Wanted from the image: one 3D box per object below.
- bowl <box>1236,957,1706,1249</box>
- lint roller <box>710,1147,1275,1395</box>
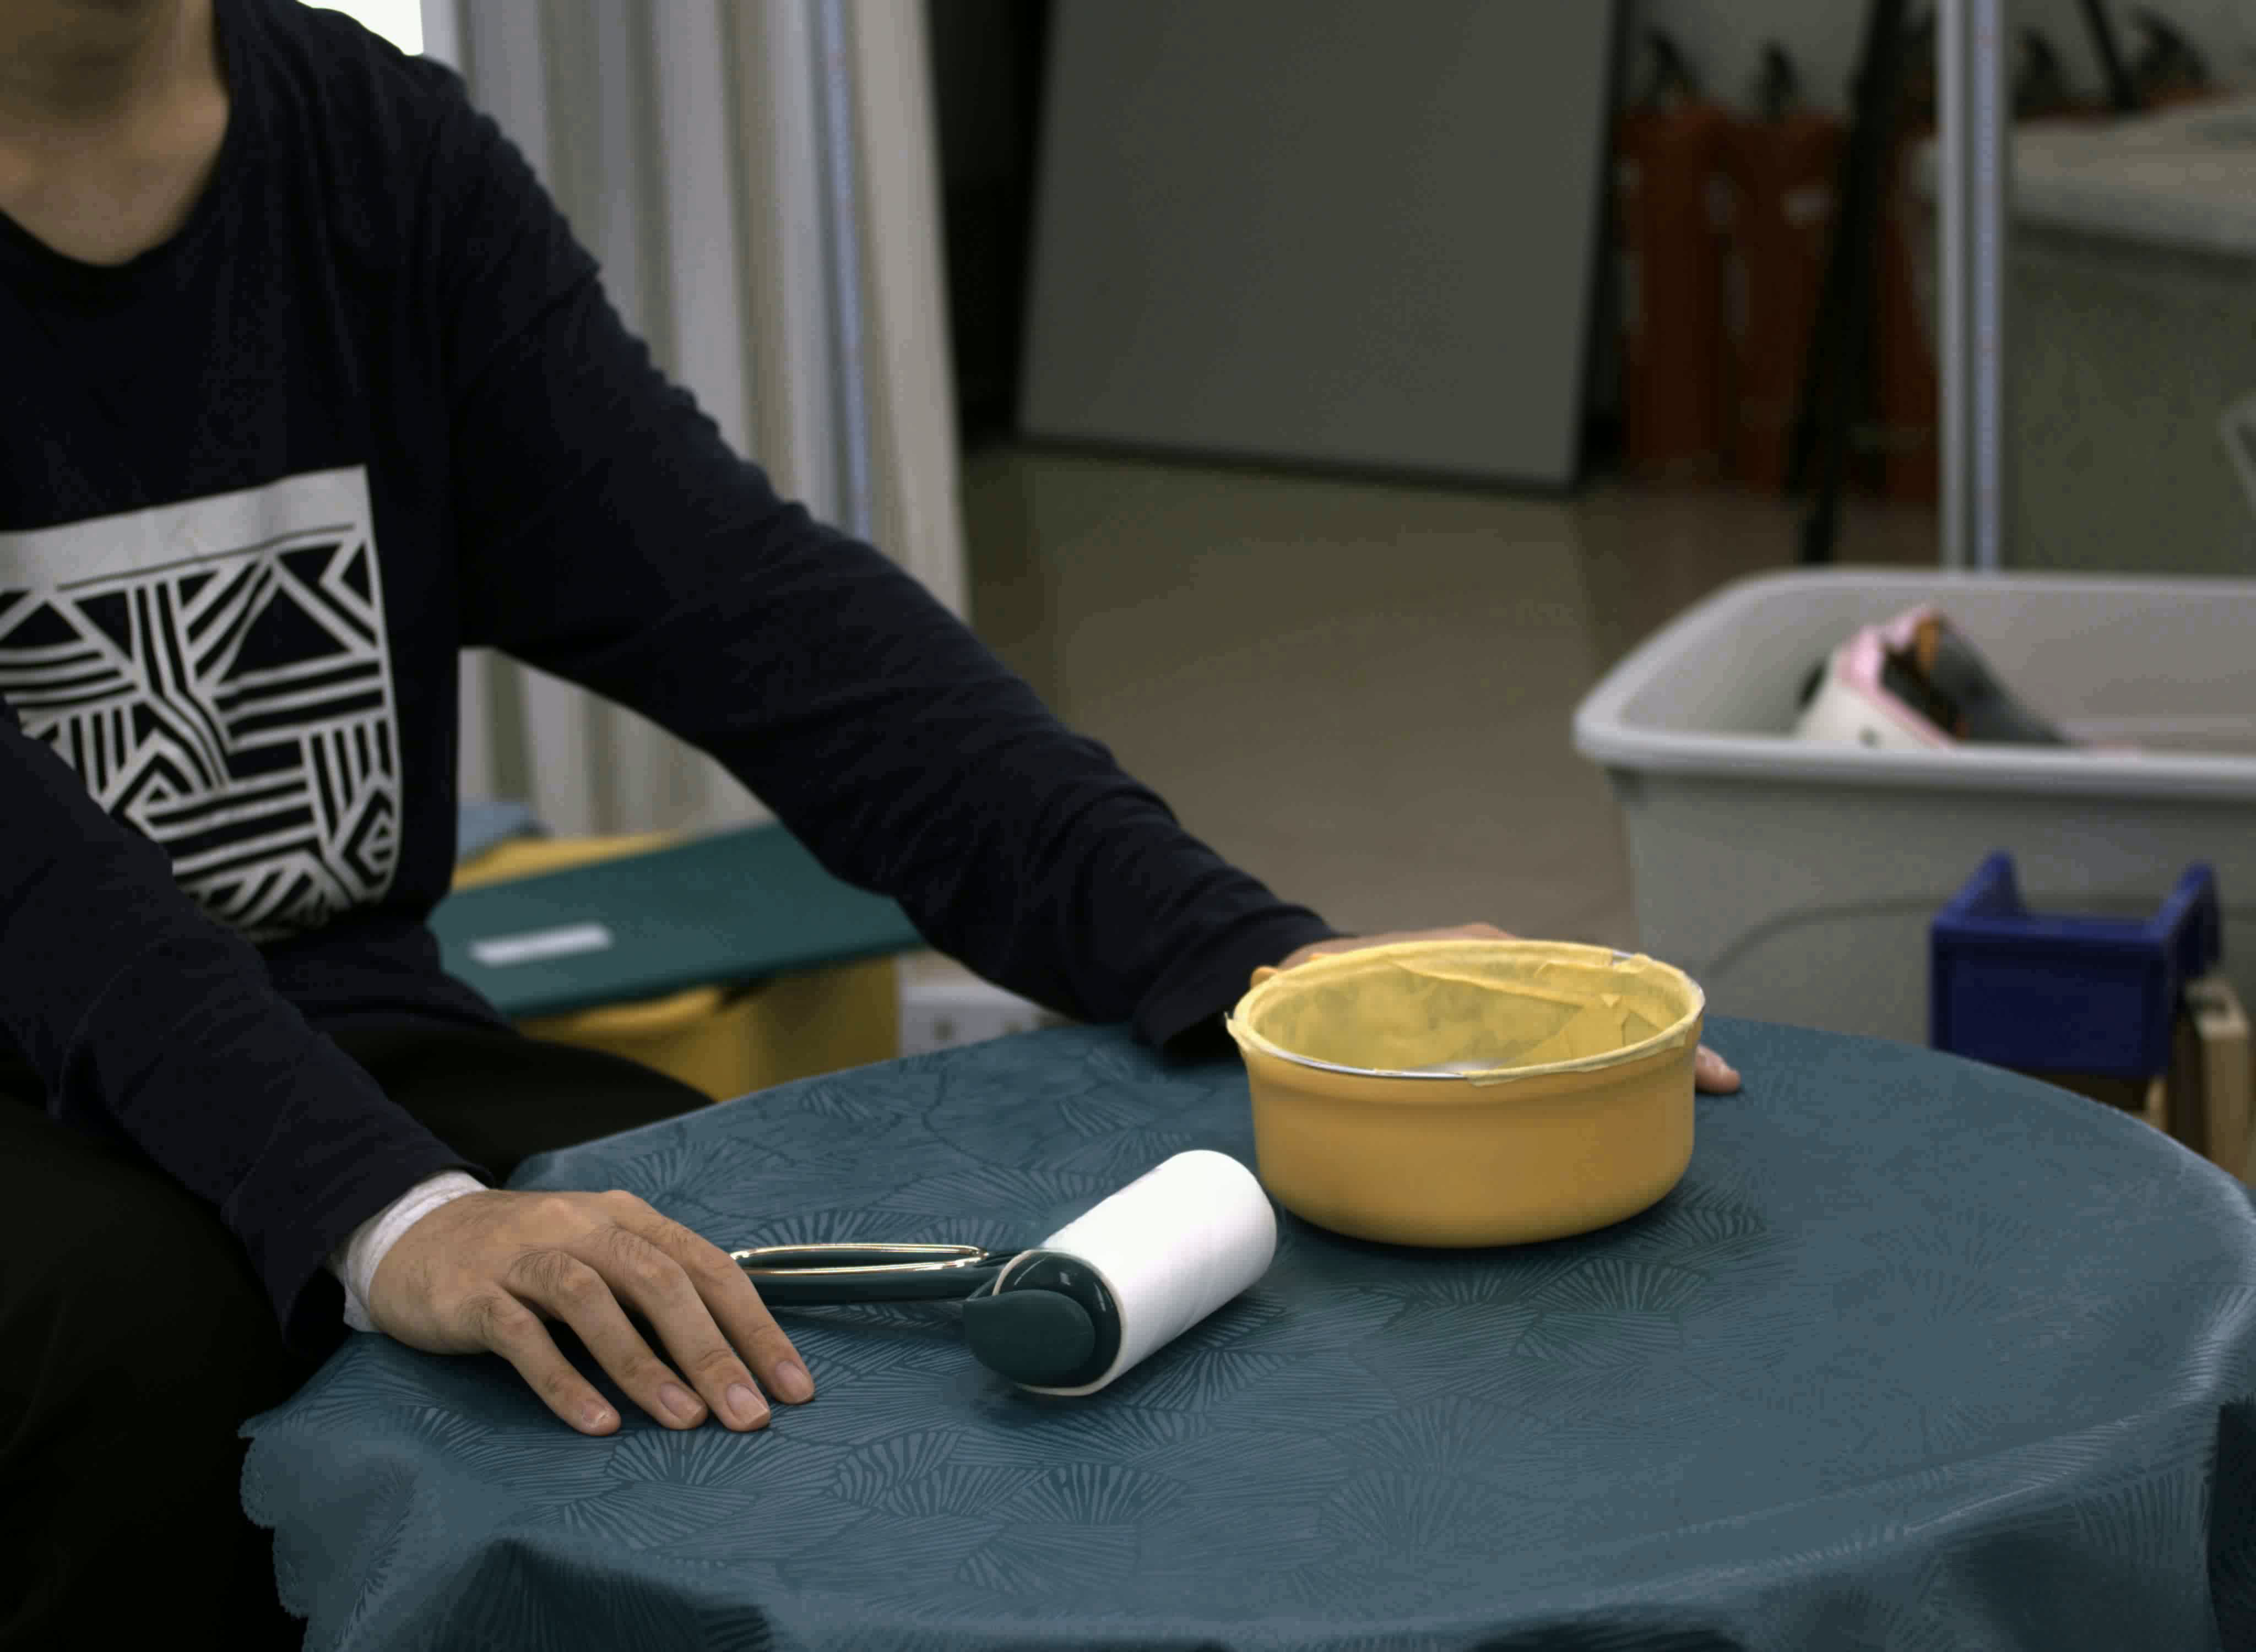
[{"bbox_3d":[0.104,0.088,1.745,0.150,0.075,0.181,-16,18,-38],"label":"bowl"},{"bbox_3d":[-0.055,0.136,1.655,0.181,0.049,0.132,-3,13,31],"label":"lint roller"}]
